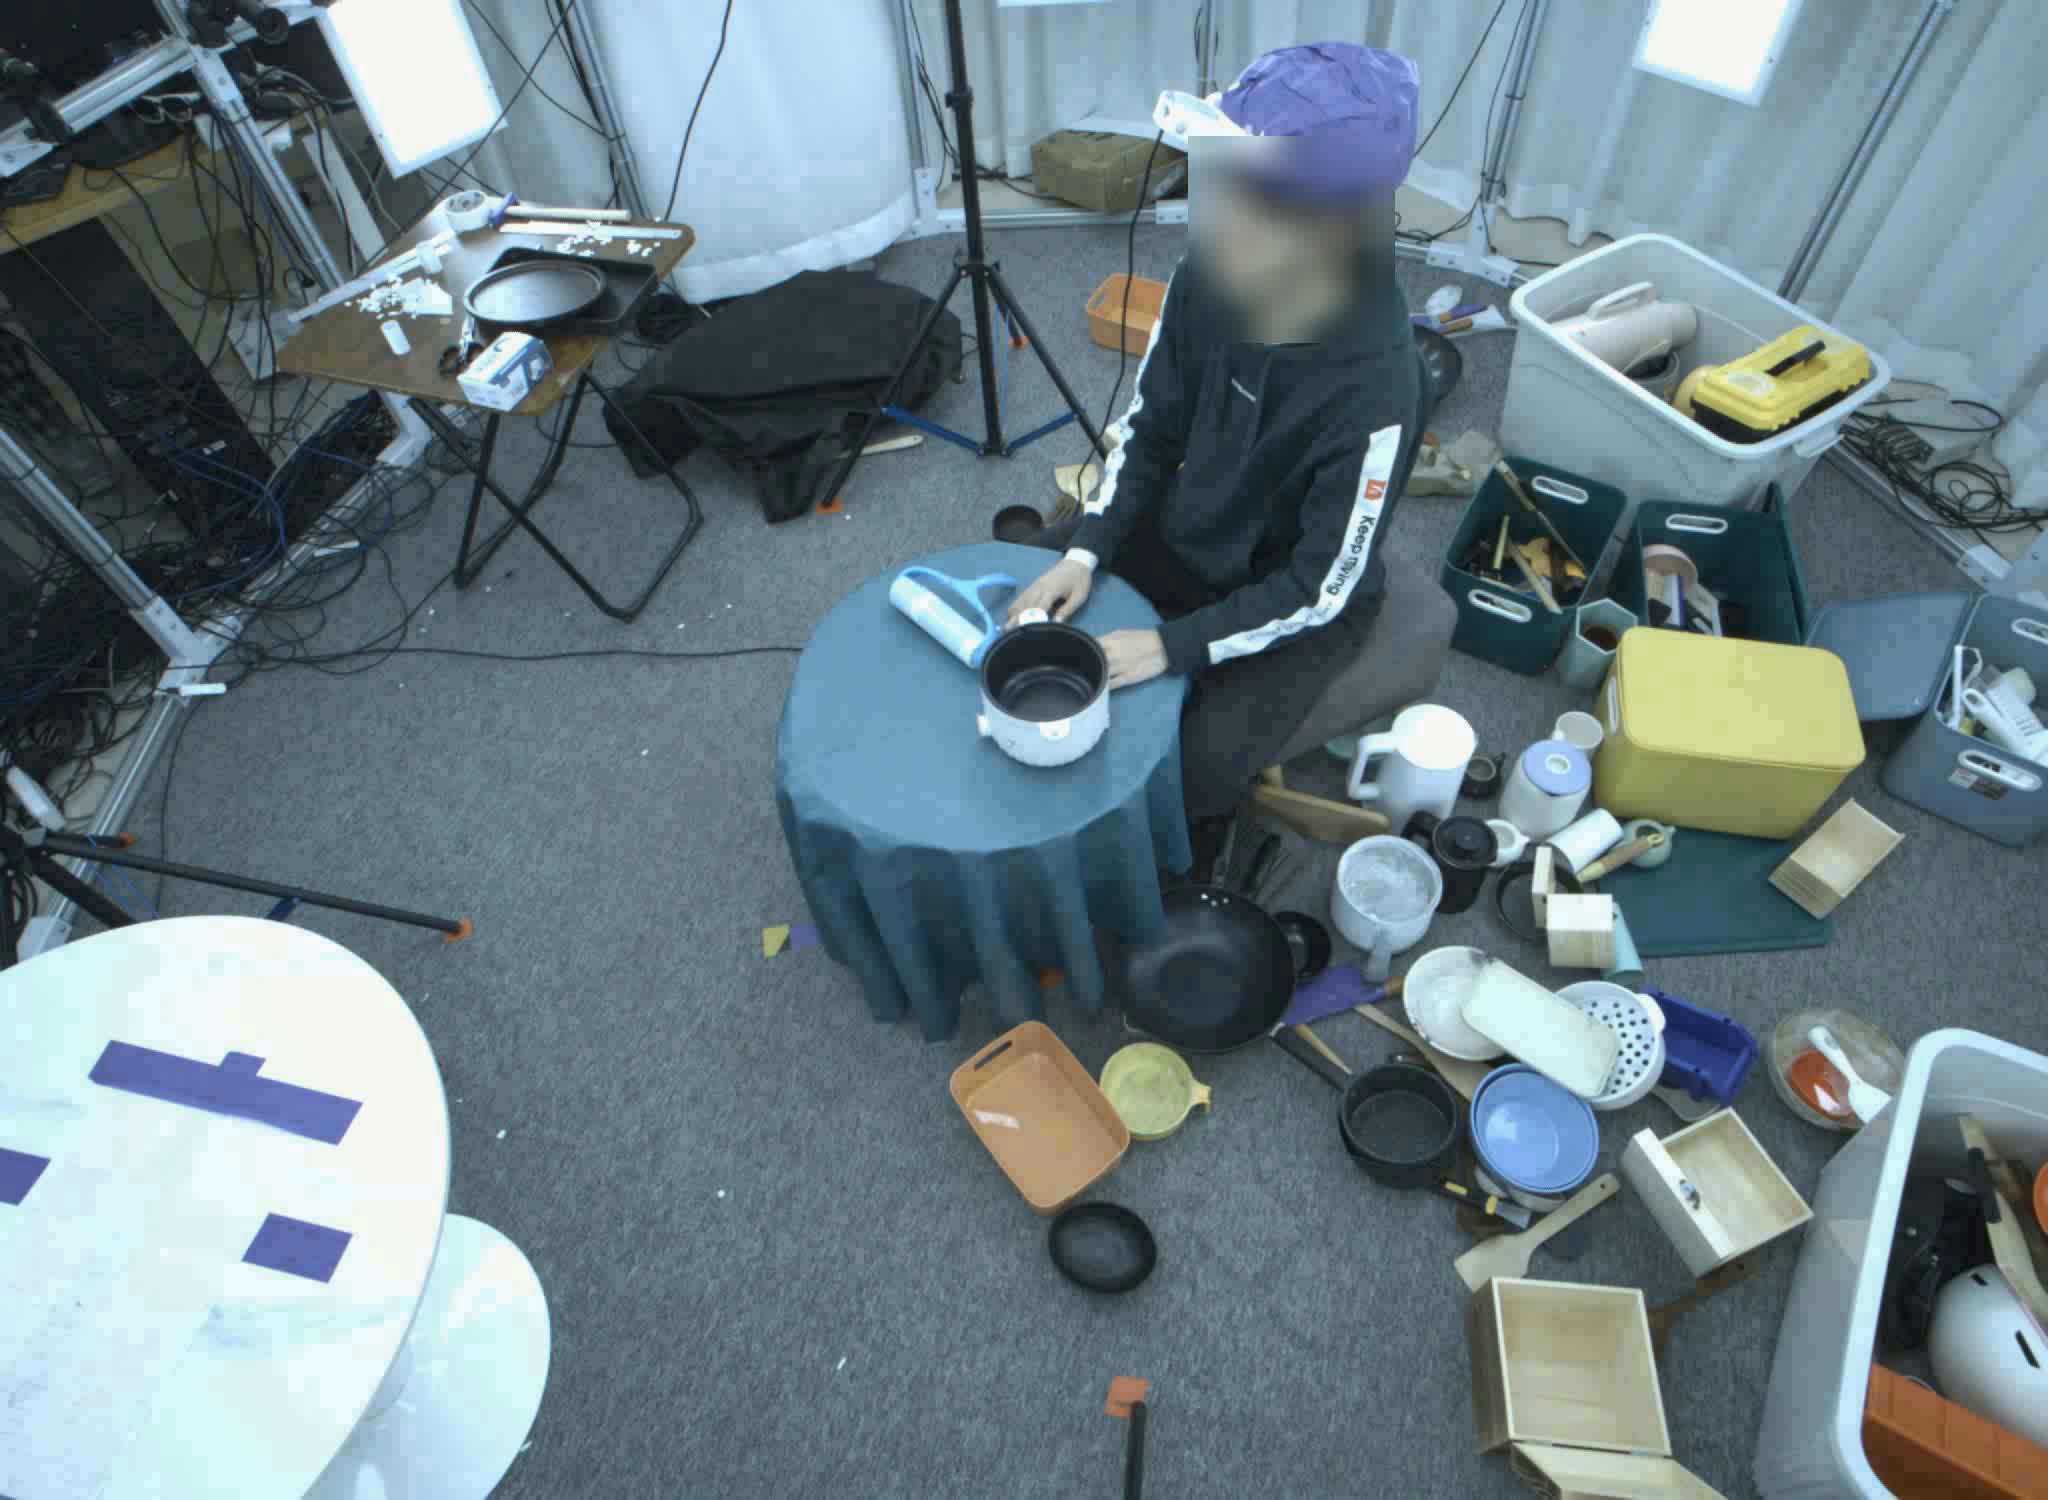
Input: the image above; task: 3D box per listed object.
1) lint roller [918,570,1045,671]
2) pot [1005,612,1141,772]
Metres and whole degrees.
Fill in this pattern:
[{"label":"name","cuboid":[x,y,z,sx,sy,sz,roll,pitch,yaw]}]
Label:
[{"label":"lint roller","cuboid":[-0.042,-0.231,1.914,0.224,0.069,0.181,37,64,27]},{"label":"pot","cuboid":[0.067,-0.063,1.740,0.191,0.144,0.237,-6,53,-5]}]
